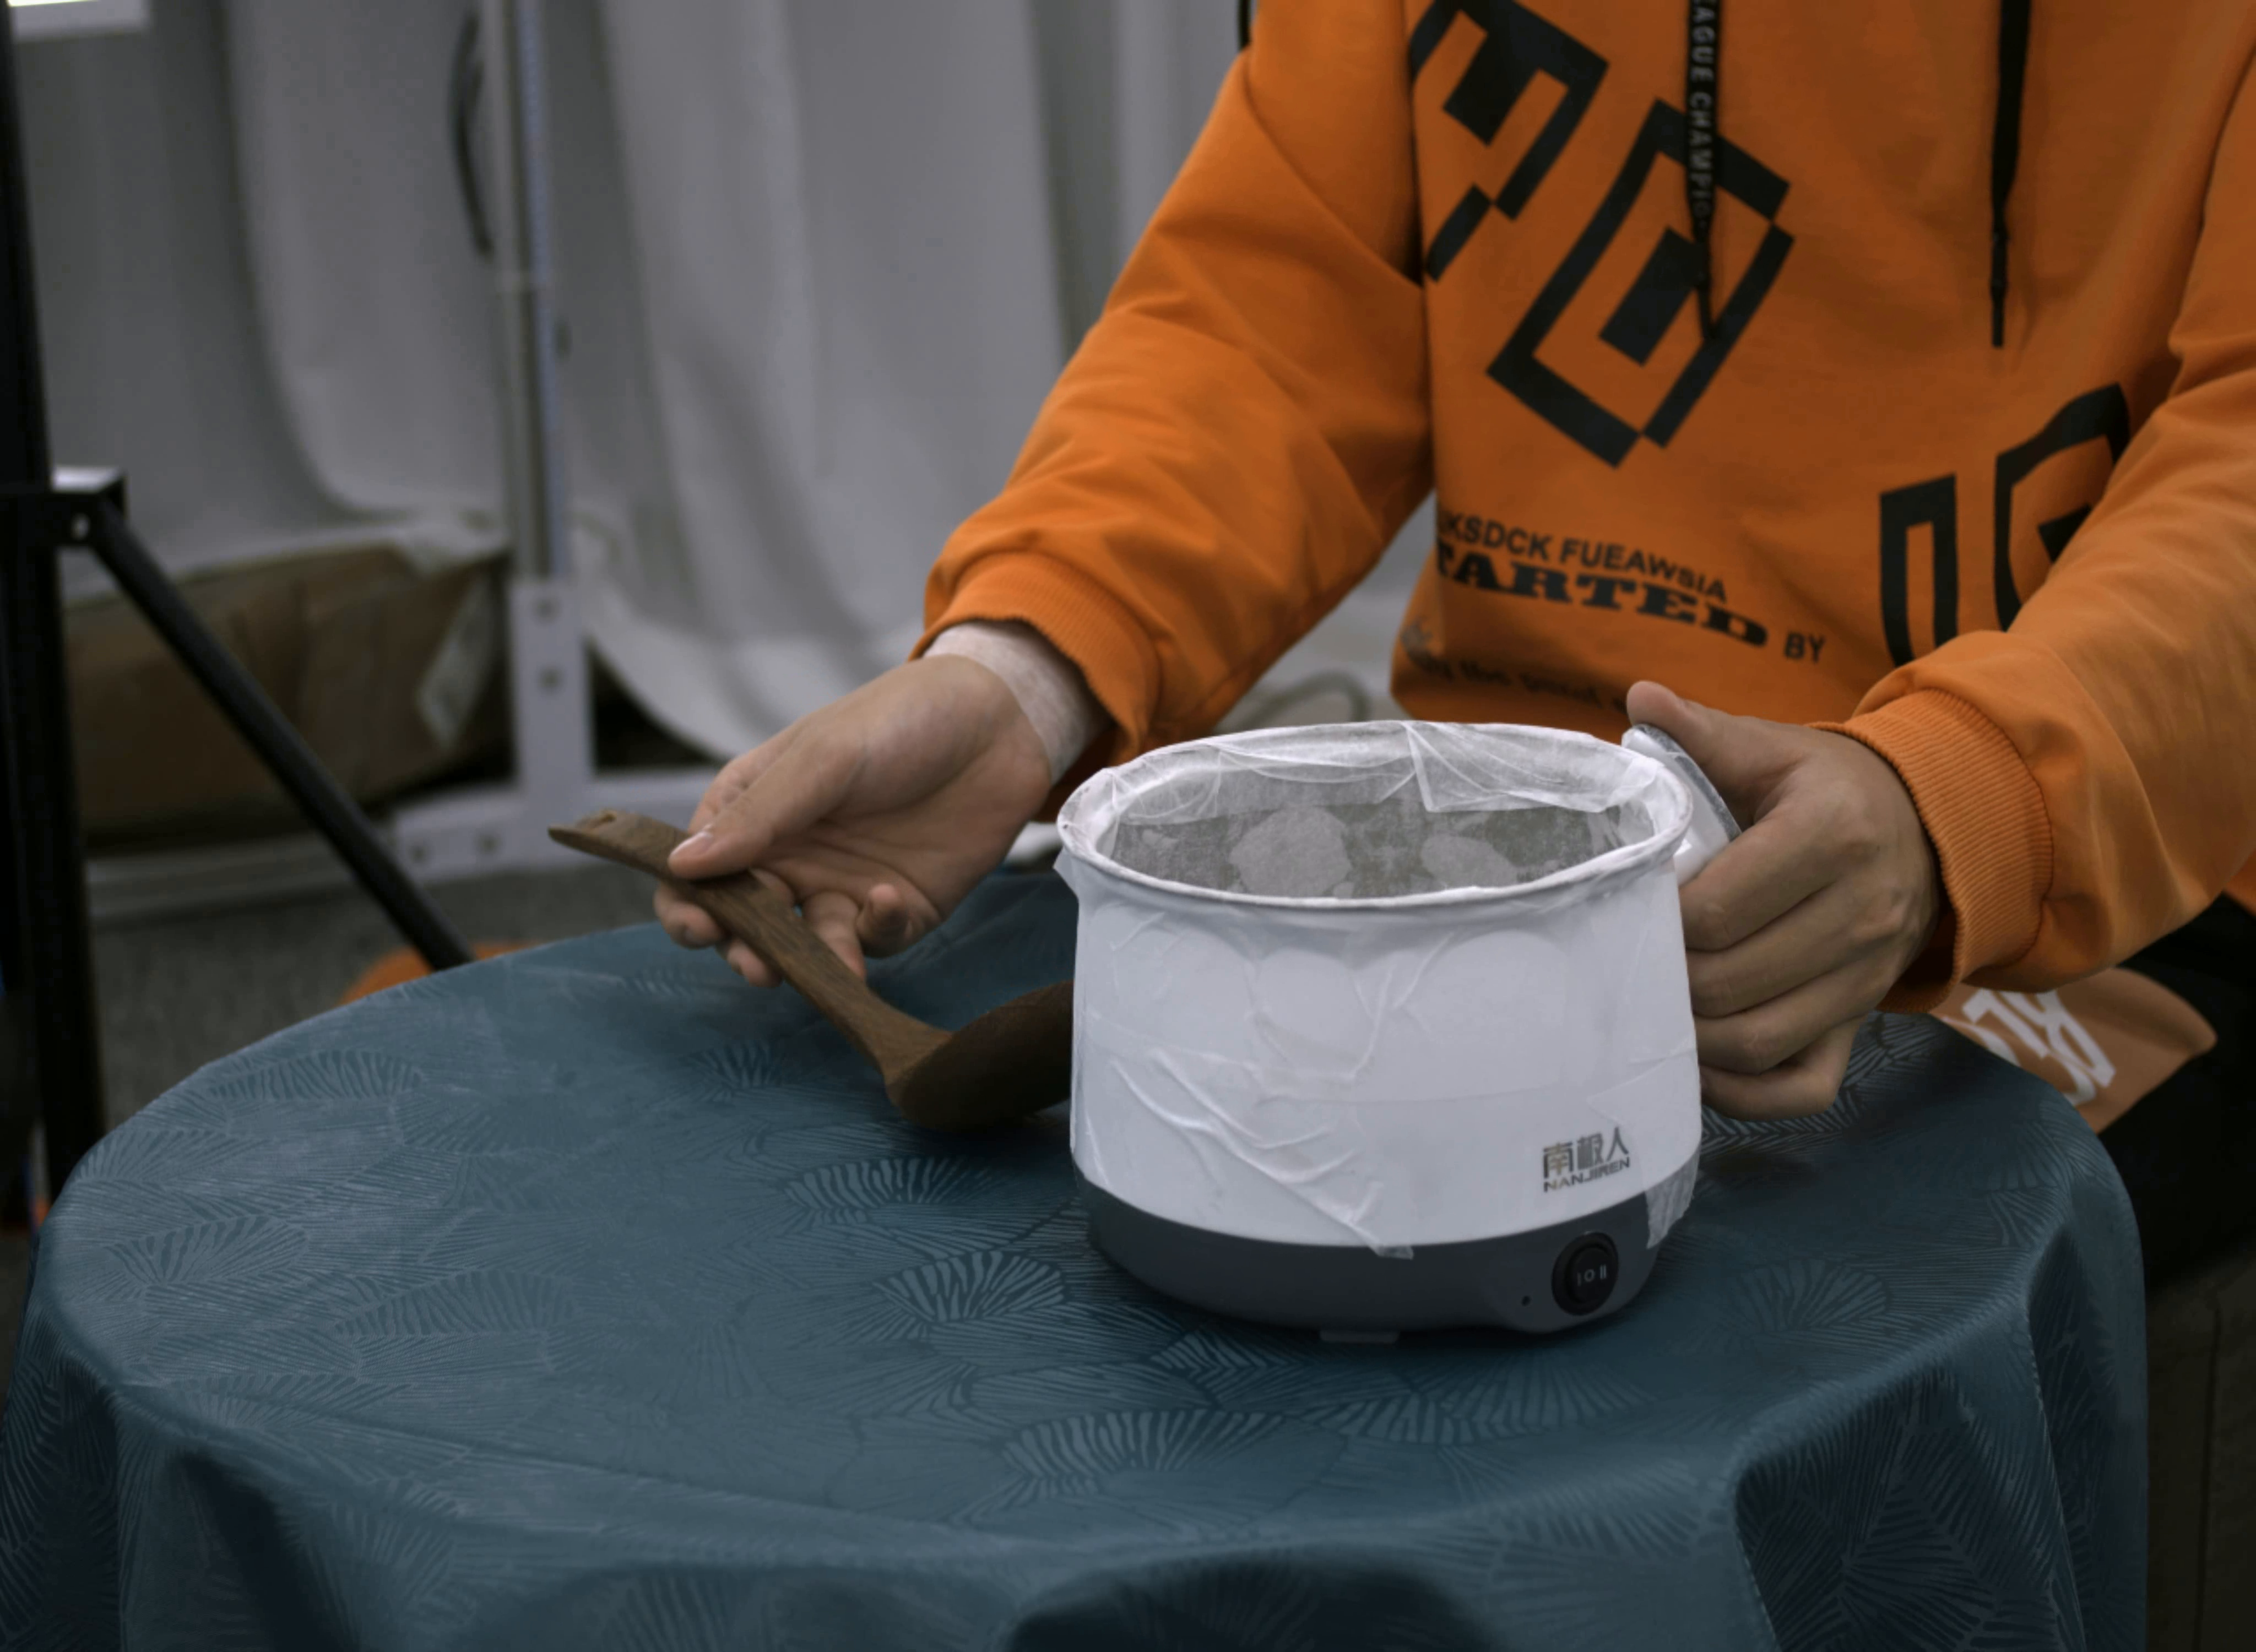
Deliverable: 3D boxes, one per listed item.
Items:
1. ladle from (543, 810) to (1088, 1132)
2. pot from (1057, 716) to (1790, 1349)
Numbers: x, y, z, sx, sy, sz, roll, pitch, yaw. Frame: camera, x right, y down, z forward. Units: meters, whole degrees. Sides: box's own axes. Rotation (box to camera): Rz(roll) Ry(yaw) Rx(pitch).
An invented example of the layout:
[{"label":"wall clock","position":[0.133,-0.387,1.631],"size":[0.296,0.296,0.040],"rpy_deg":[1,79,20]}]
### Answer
[{"label":"ladle","position":[-0.103,0.024,1.679],"size":[0.074,0.071,0.280],"rpy_deg":[-12,31,-34]},{"label":"pot","position":[0.093,0.050,1.492],"size":[0.228,0.136,0.183],"rpy_deg":[-14,20,-34]}]
